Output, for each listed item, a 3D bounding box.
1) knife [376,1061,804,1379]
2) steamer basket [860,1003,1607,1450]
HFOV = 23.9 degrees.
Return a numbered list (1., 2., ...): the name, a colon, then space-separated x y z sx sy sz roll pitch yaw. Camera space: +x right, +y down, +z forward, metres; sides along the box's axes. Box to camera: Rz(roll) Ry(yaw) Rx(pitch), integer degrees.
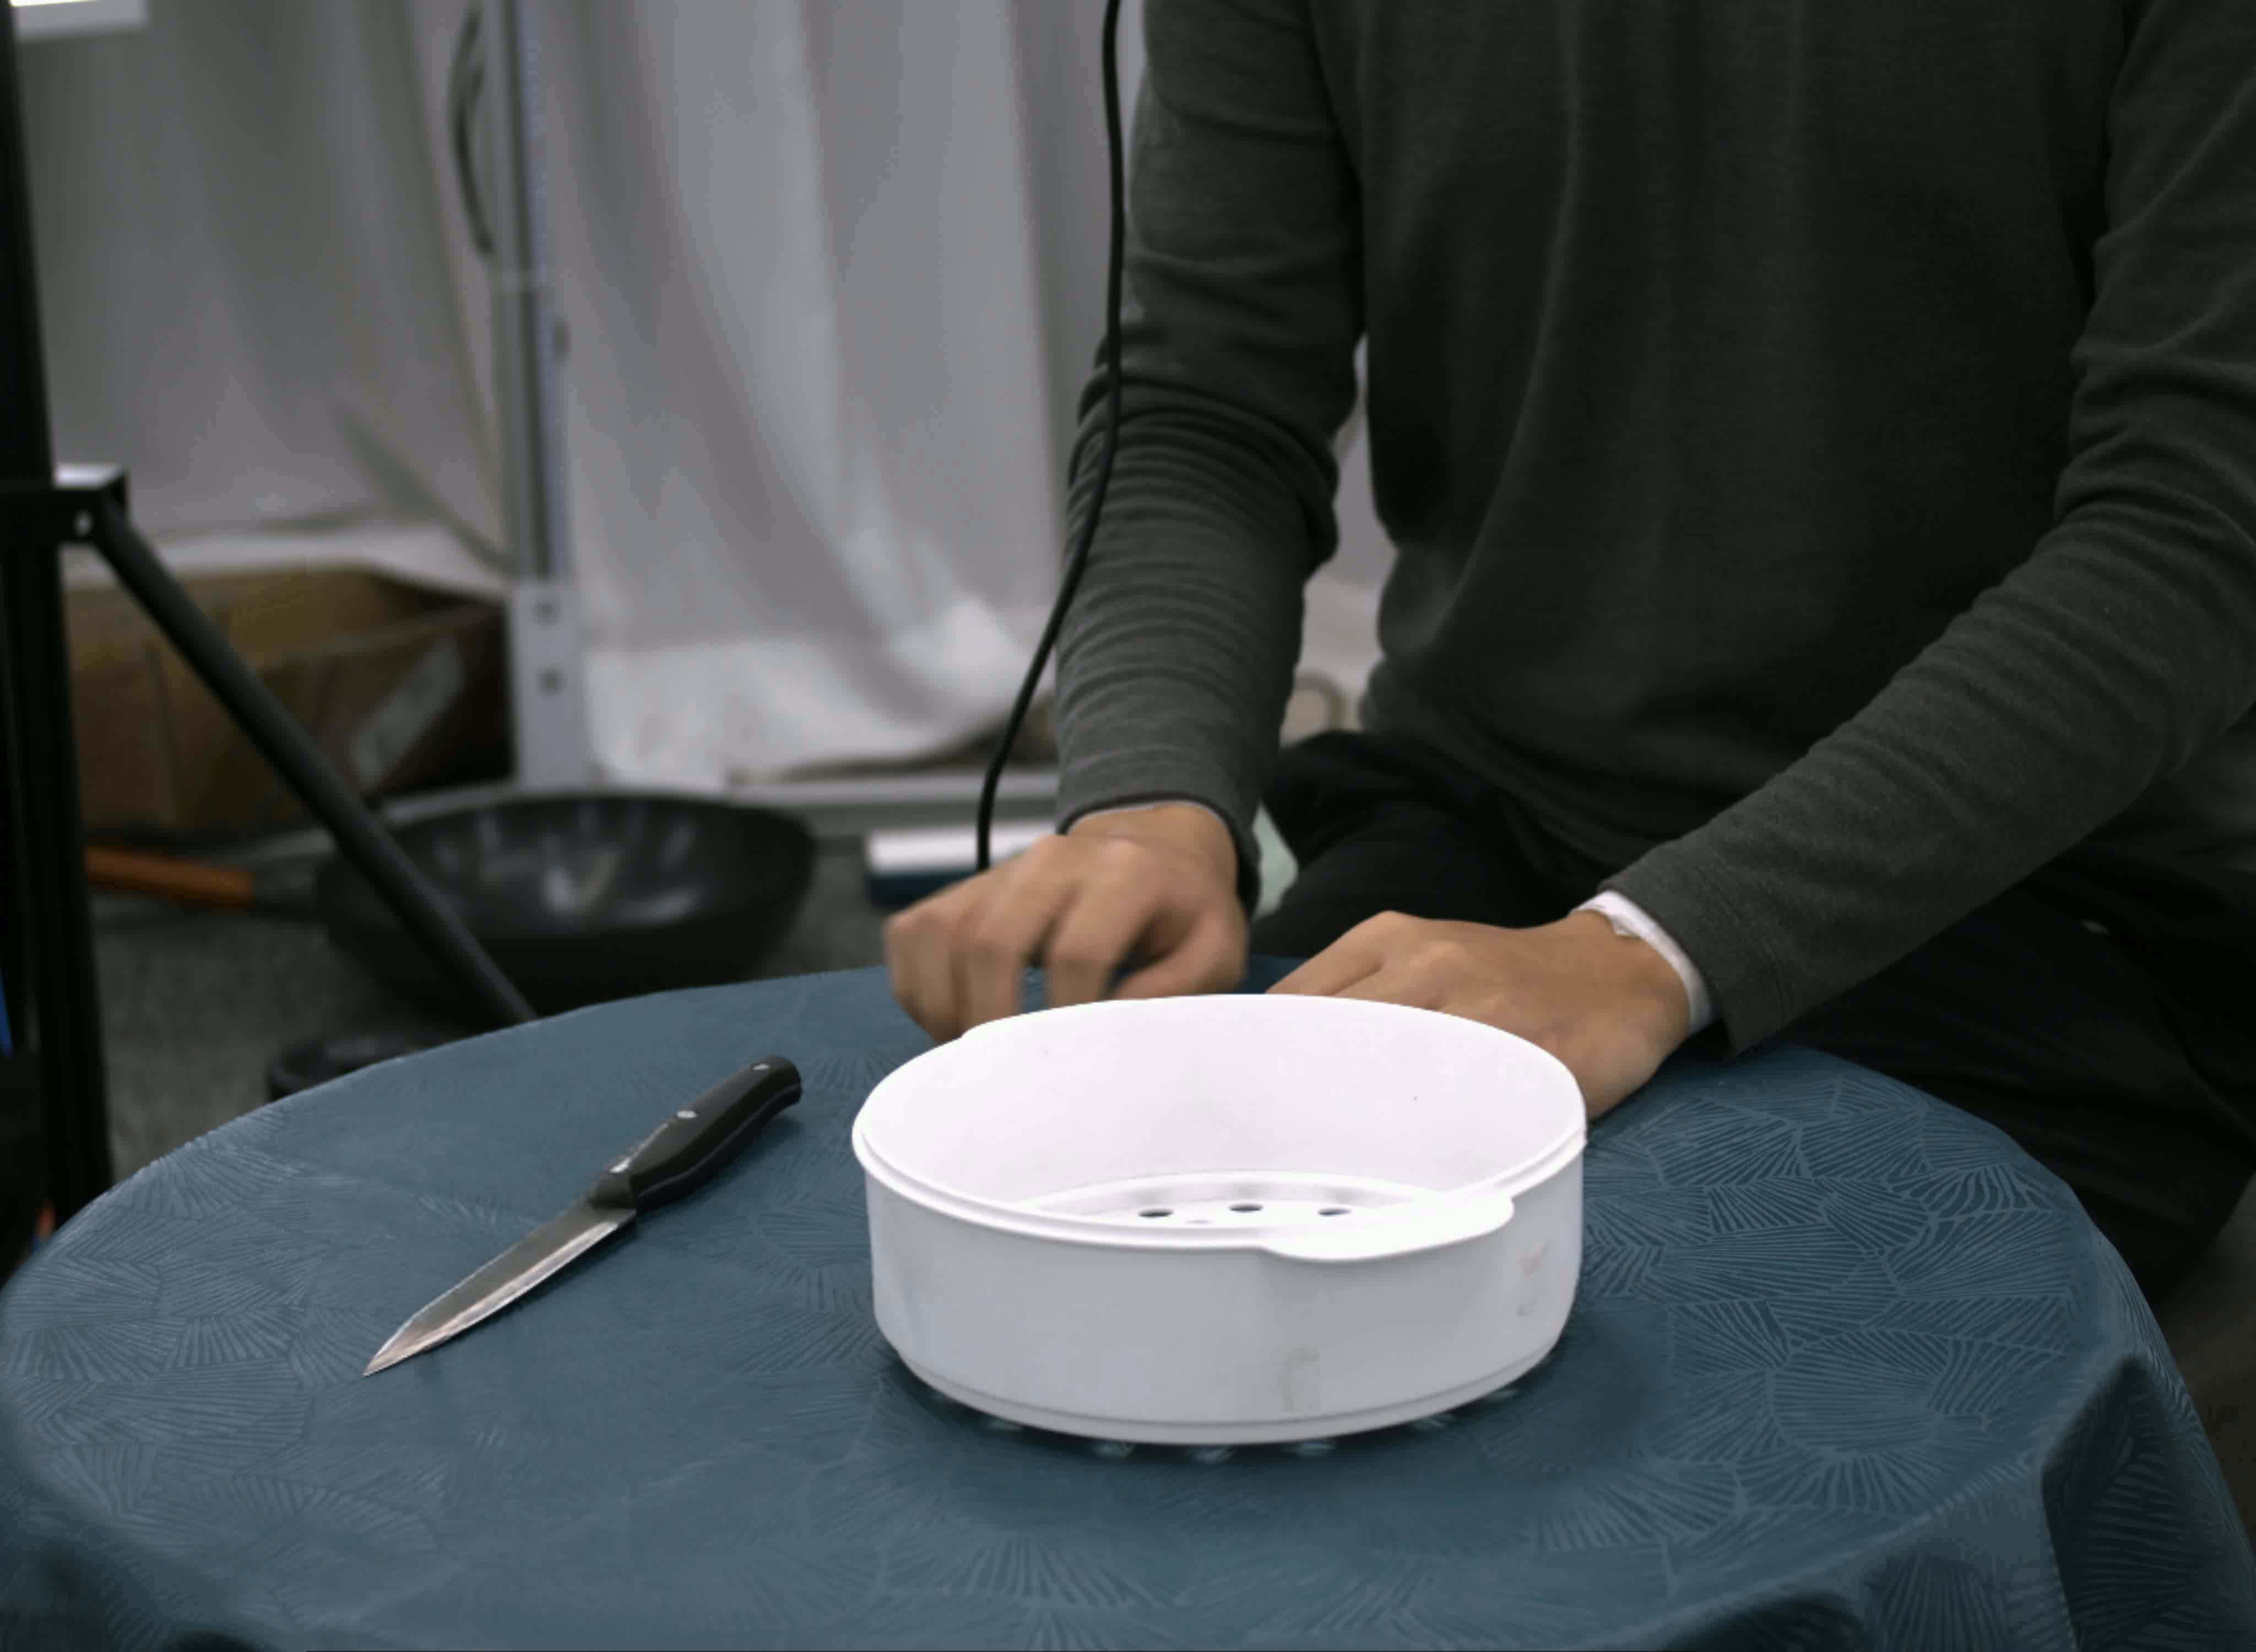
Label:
1. knife: -0.156 0.114 1.545 0.025 0.016 0.235 2 19 25
2. steamer basket: 0.029 0.107 1.435 0.198 0.069 0.235 -8 16 -22
